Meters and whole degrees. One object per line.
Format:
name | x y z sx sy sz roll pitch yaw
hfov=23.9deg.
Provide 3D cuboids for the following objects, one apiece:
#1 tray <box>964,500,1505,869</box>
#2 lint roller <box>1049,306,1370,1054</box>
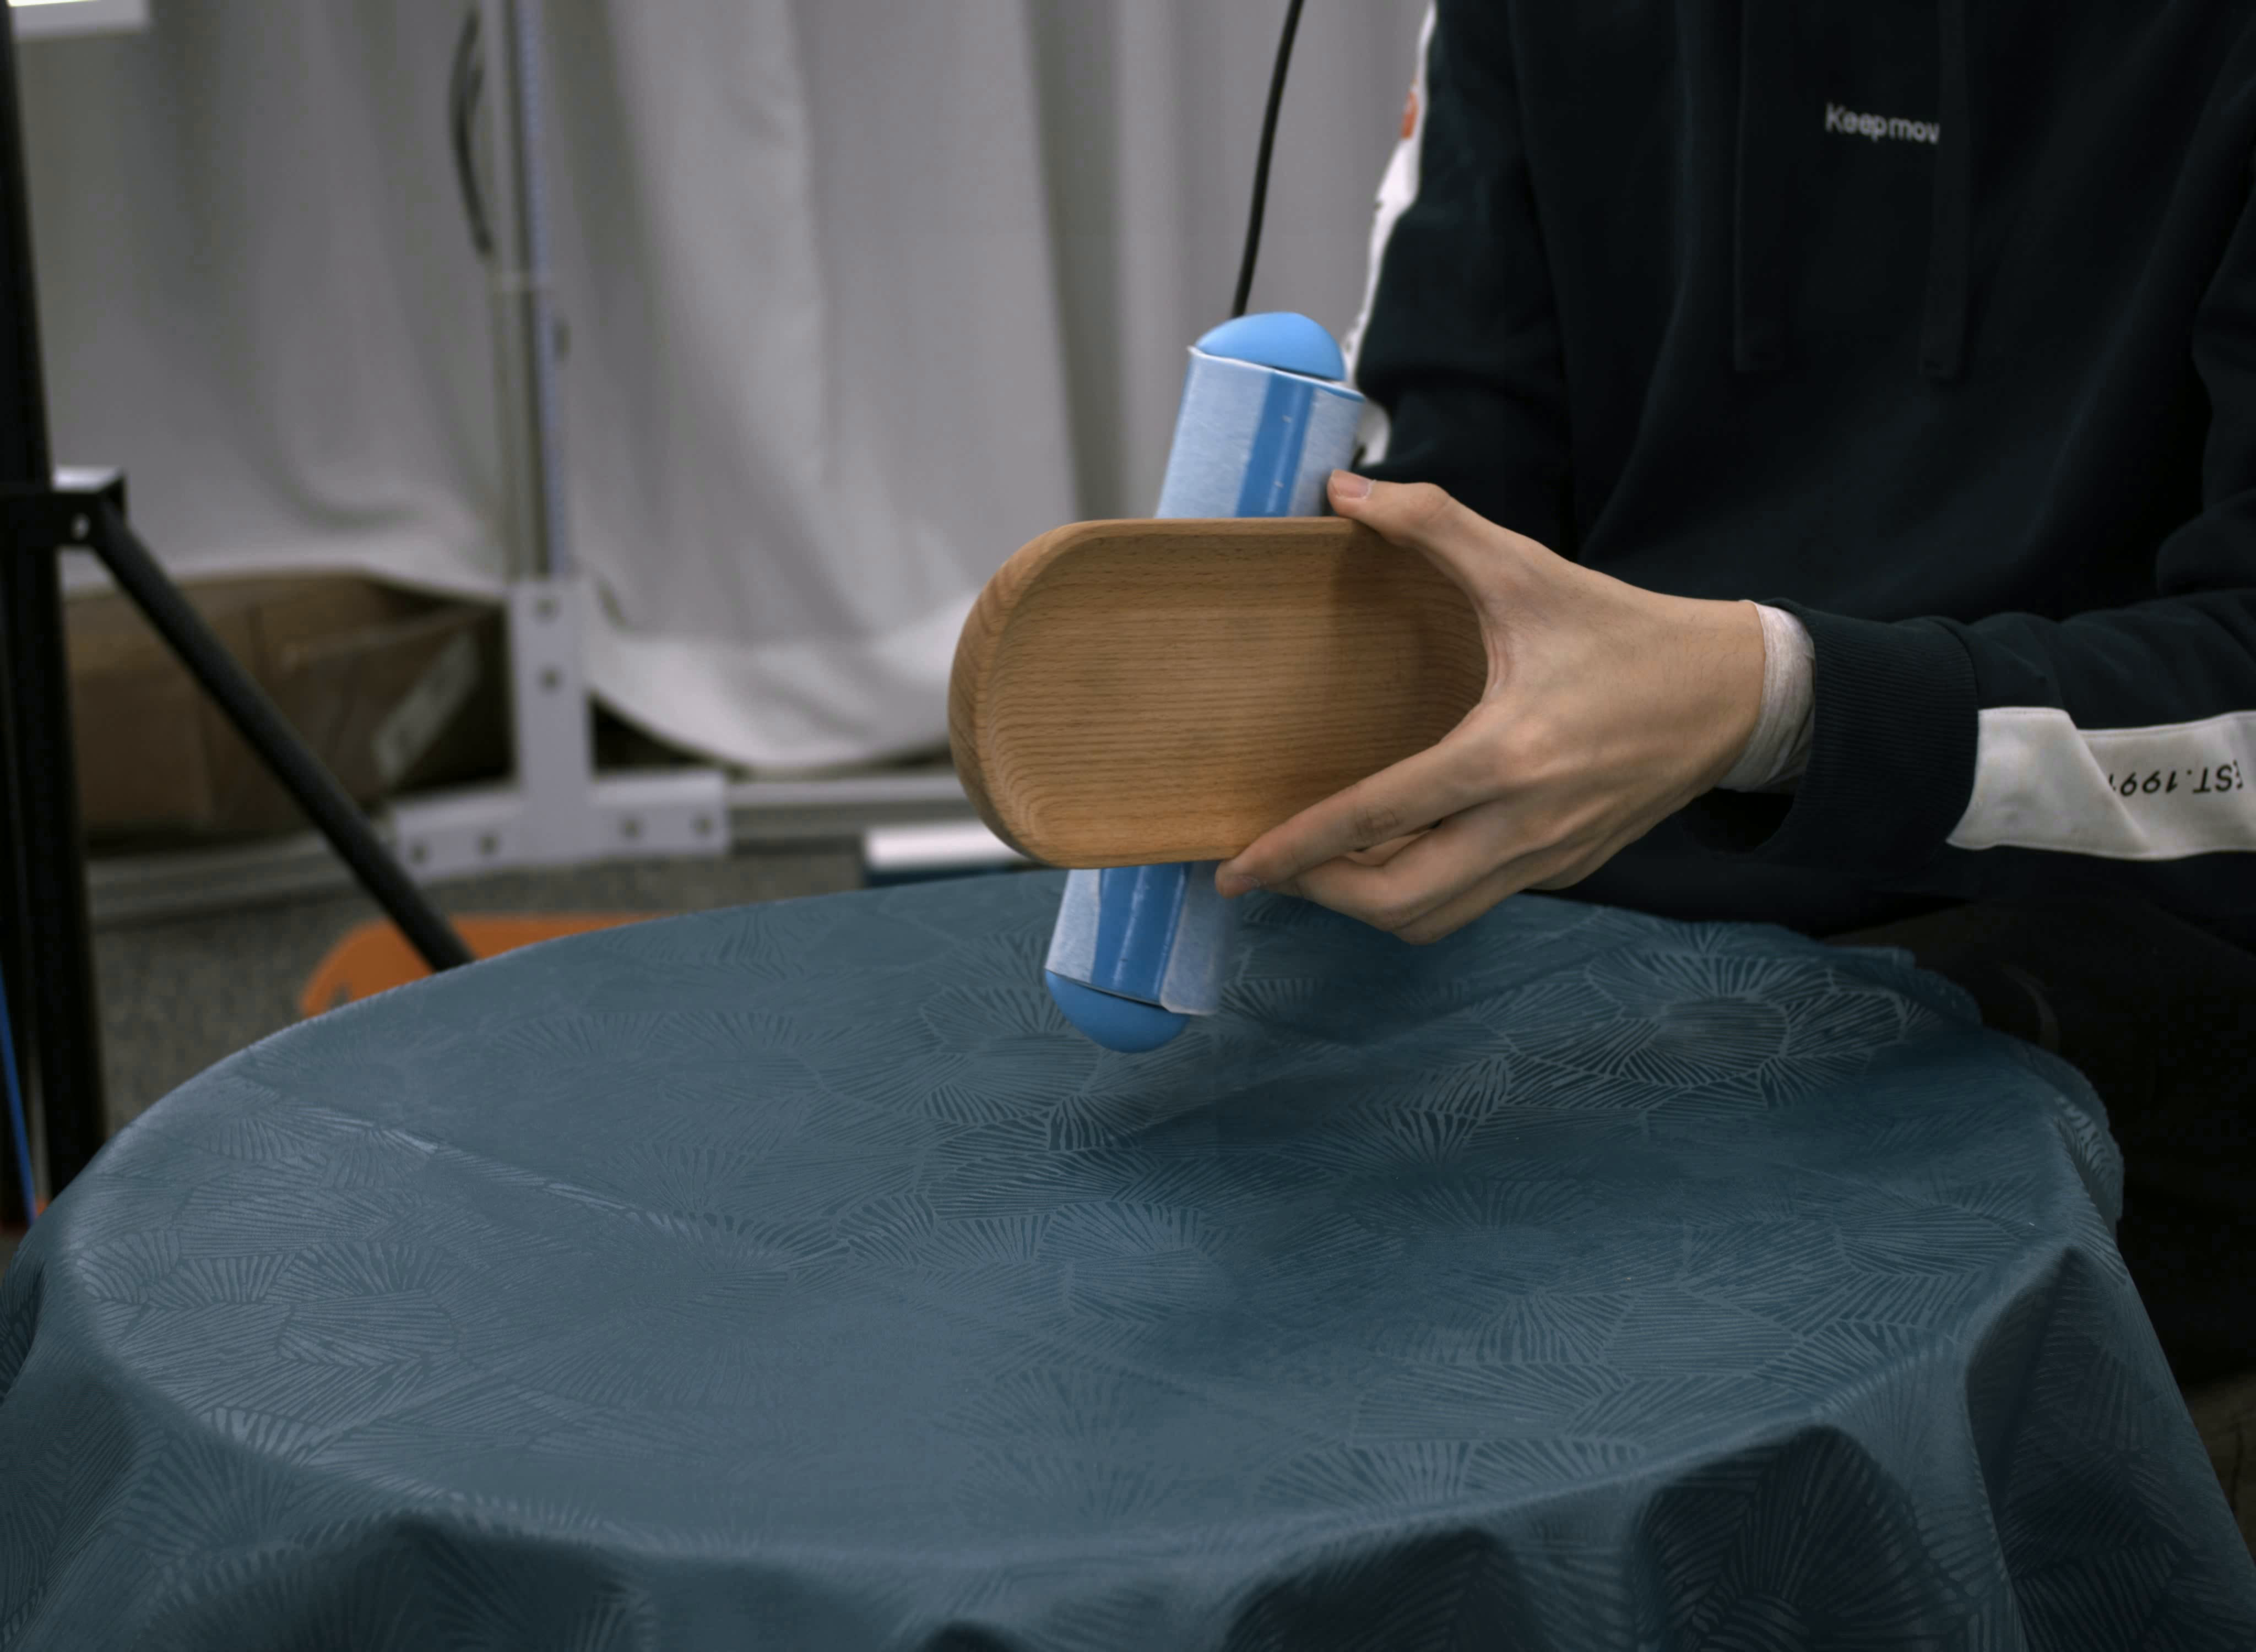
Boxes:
tray | 0.034 -0.043 1.555 0.021 0.102 0.225 13 13 40
lint roller | 0.035 -0.040 1.660 0.068 0.230 0.178 13 -1 12
